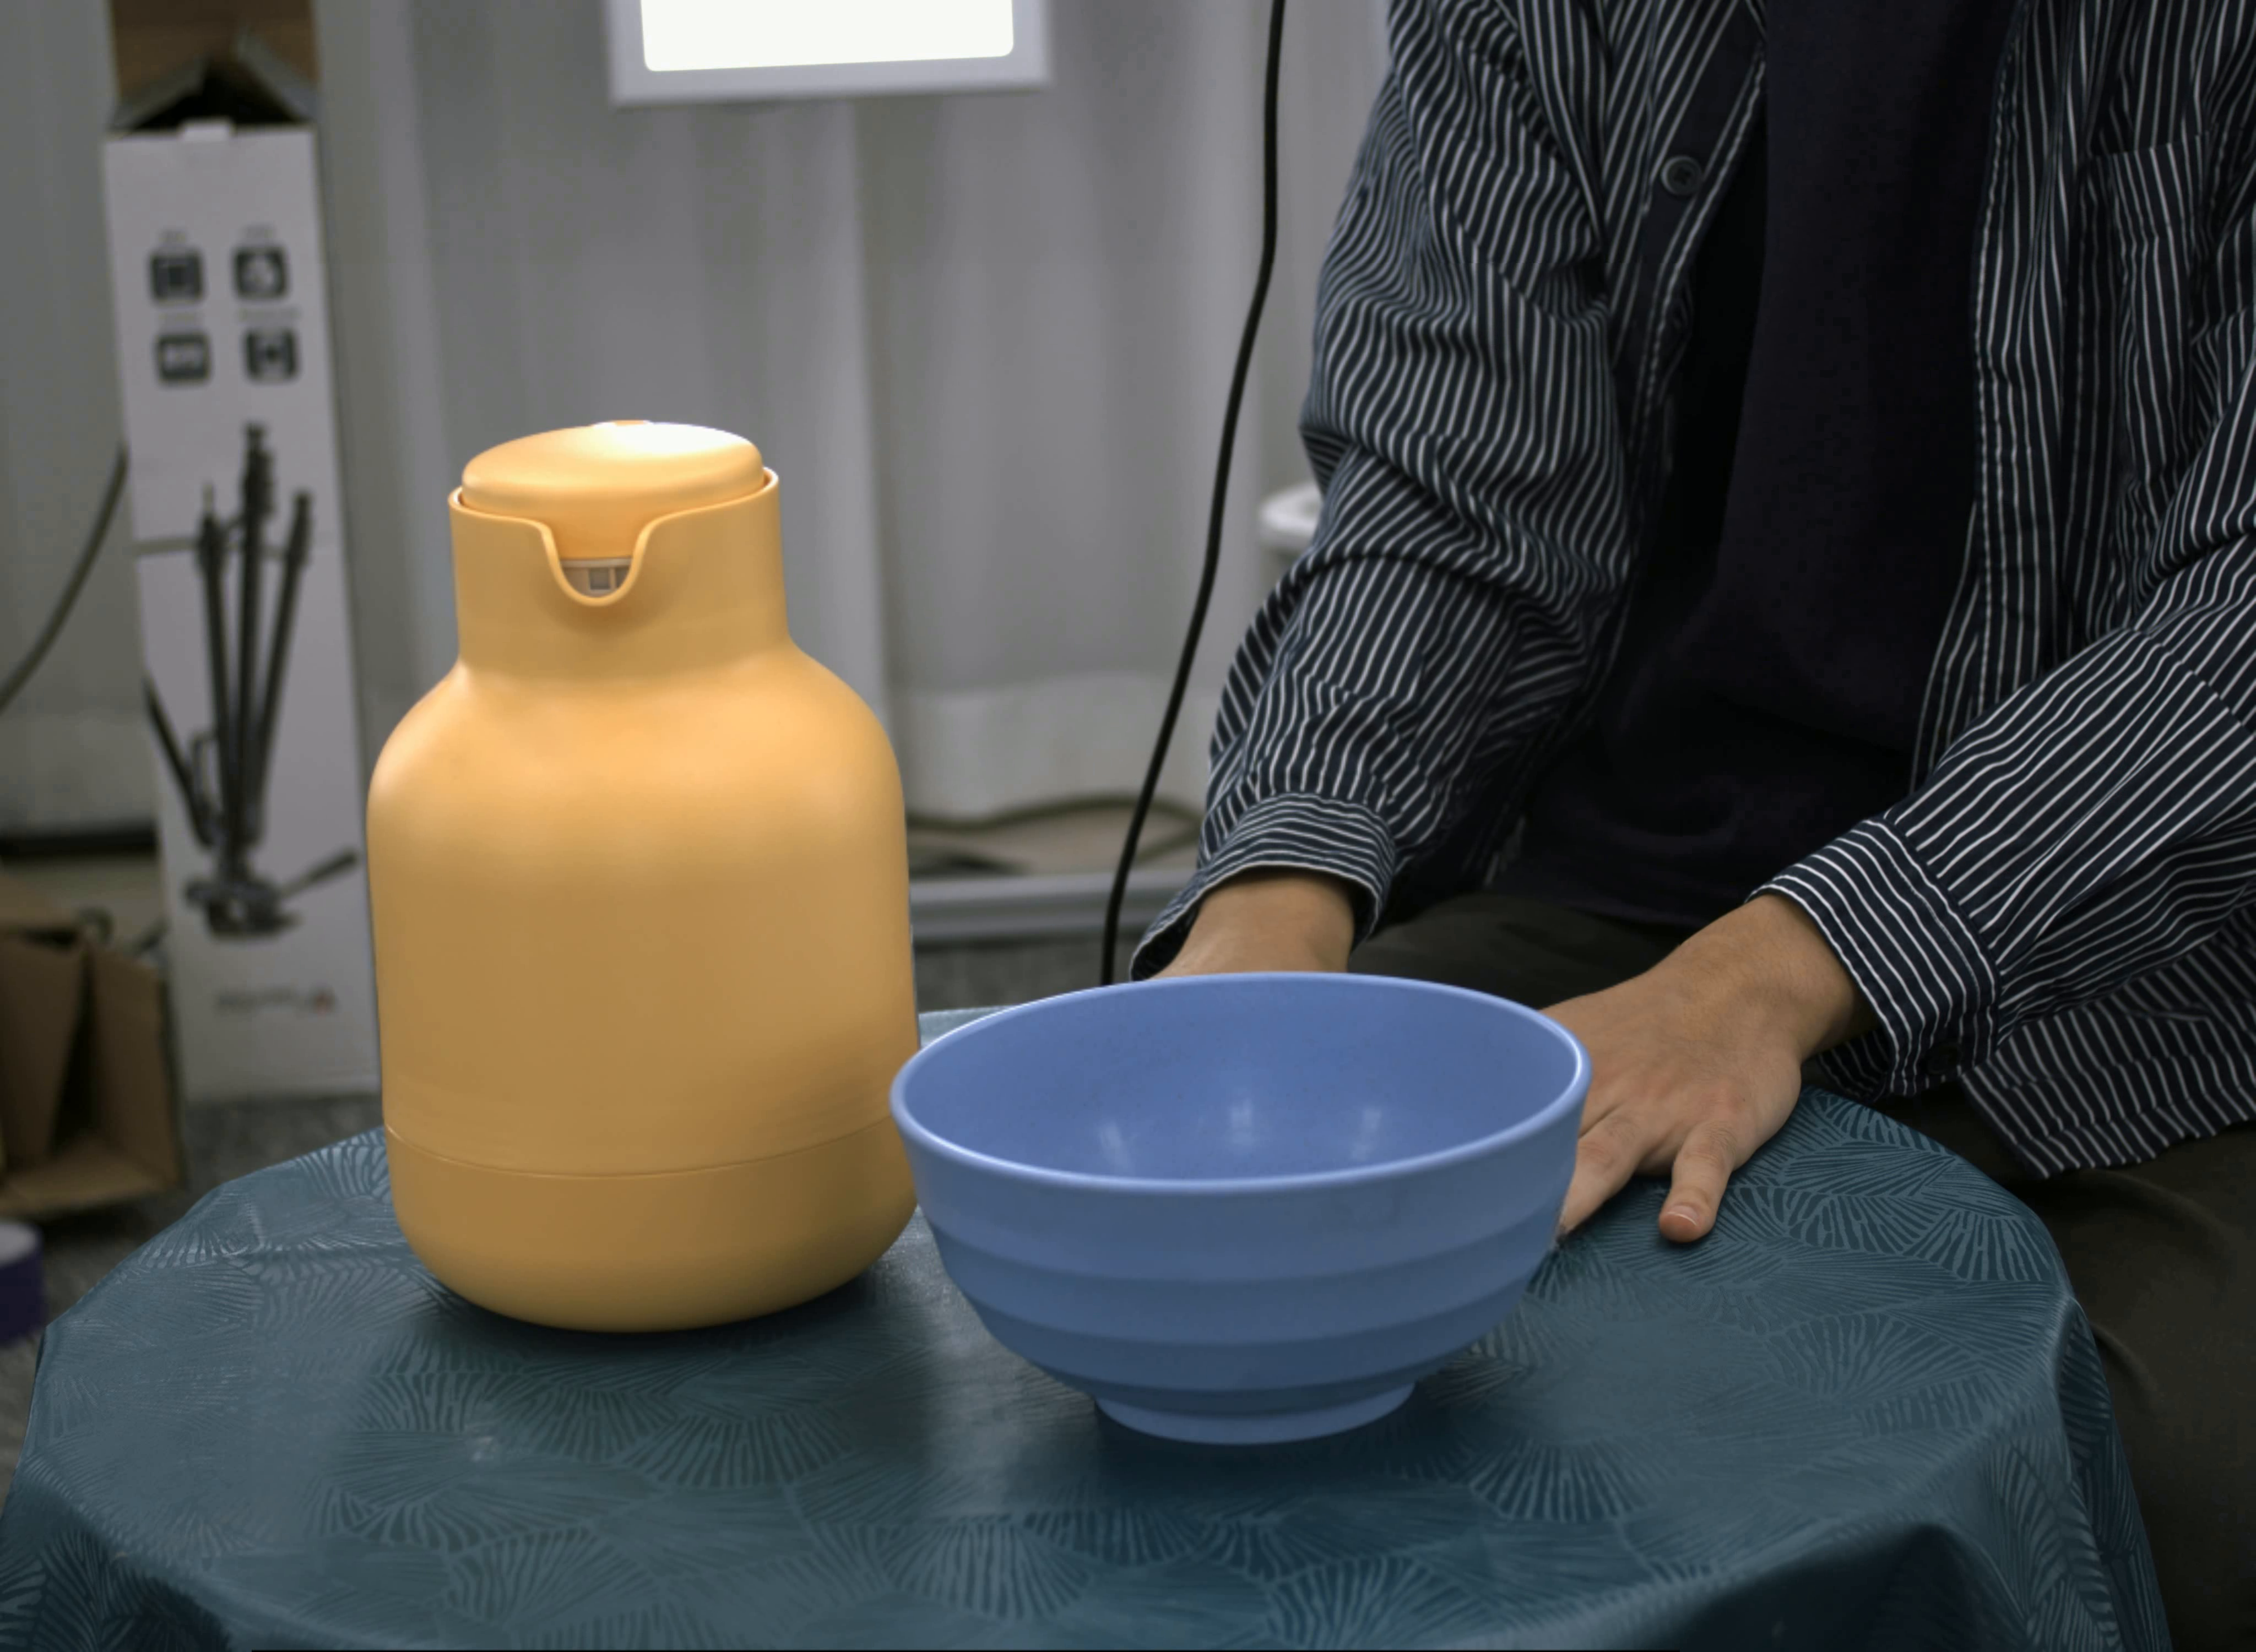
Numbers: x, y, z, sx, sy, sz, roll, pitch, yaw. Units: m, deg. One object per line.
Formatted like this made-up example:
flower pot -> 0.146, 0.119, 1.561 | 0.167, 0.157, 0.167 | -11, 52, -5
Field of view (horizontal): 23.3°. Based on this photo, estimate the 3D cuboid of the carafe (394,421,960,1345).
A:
carafe -> -0.135, 0.008, 1.641 | 0.163, 0.259, 0.204 | -3, 13, 0

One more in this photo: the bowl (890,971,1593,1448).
bowl -> 0.034, 0.114, 1.532 | 0.196, 0.095, 0.198 | -3, 15, 1
